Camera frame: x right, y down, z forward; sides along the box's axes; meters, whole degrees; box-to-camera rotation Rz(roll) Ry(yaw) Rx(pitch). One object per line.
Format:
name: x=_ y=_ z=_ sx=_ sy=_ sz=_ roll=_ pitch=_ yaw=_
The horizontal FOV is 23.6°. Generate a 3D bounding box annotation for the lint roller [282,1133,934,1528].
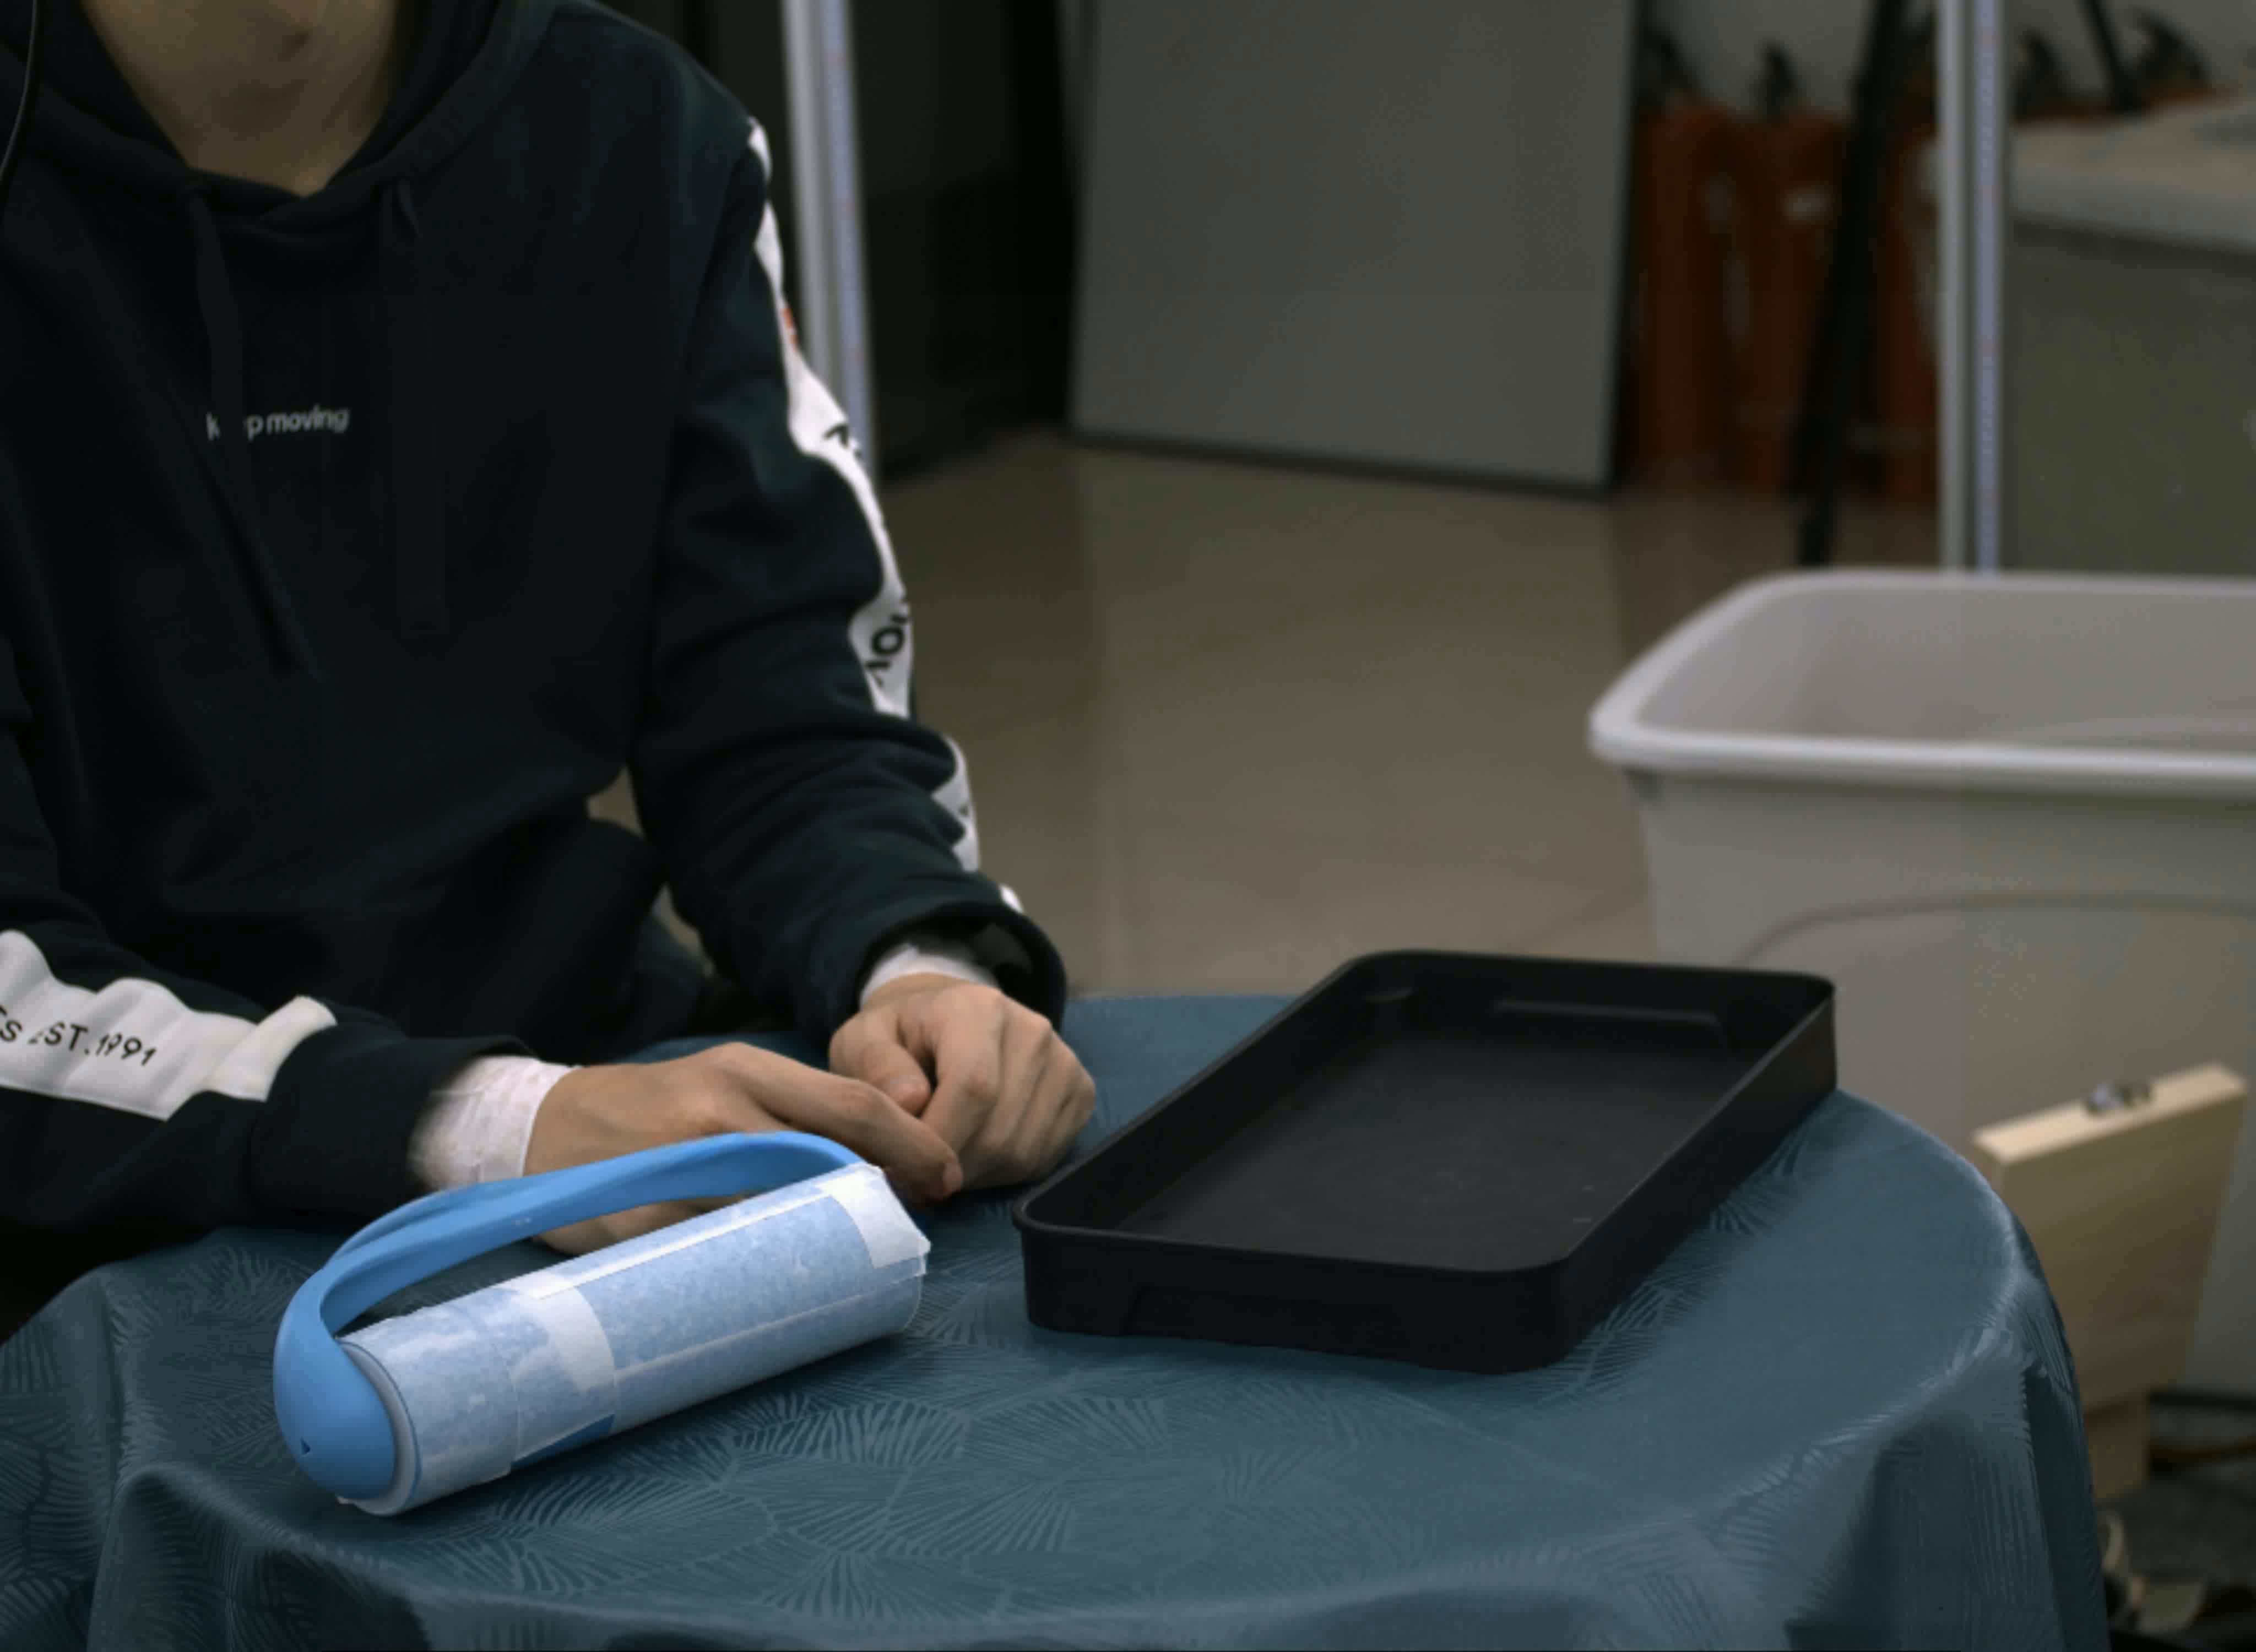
lint roller: x=-0.188 y=0.141 z=1.627 sx=0.182 sy=0.068 sz=0.224 roll=11 pitch=22 yaw=44

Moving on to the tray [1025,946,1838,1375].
tray: x=0.107 y=0.102 z=1.745 sx=0.184 sy=0.037 sz=0.314 roll=1 pitch=16 yaw=24
